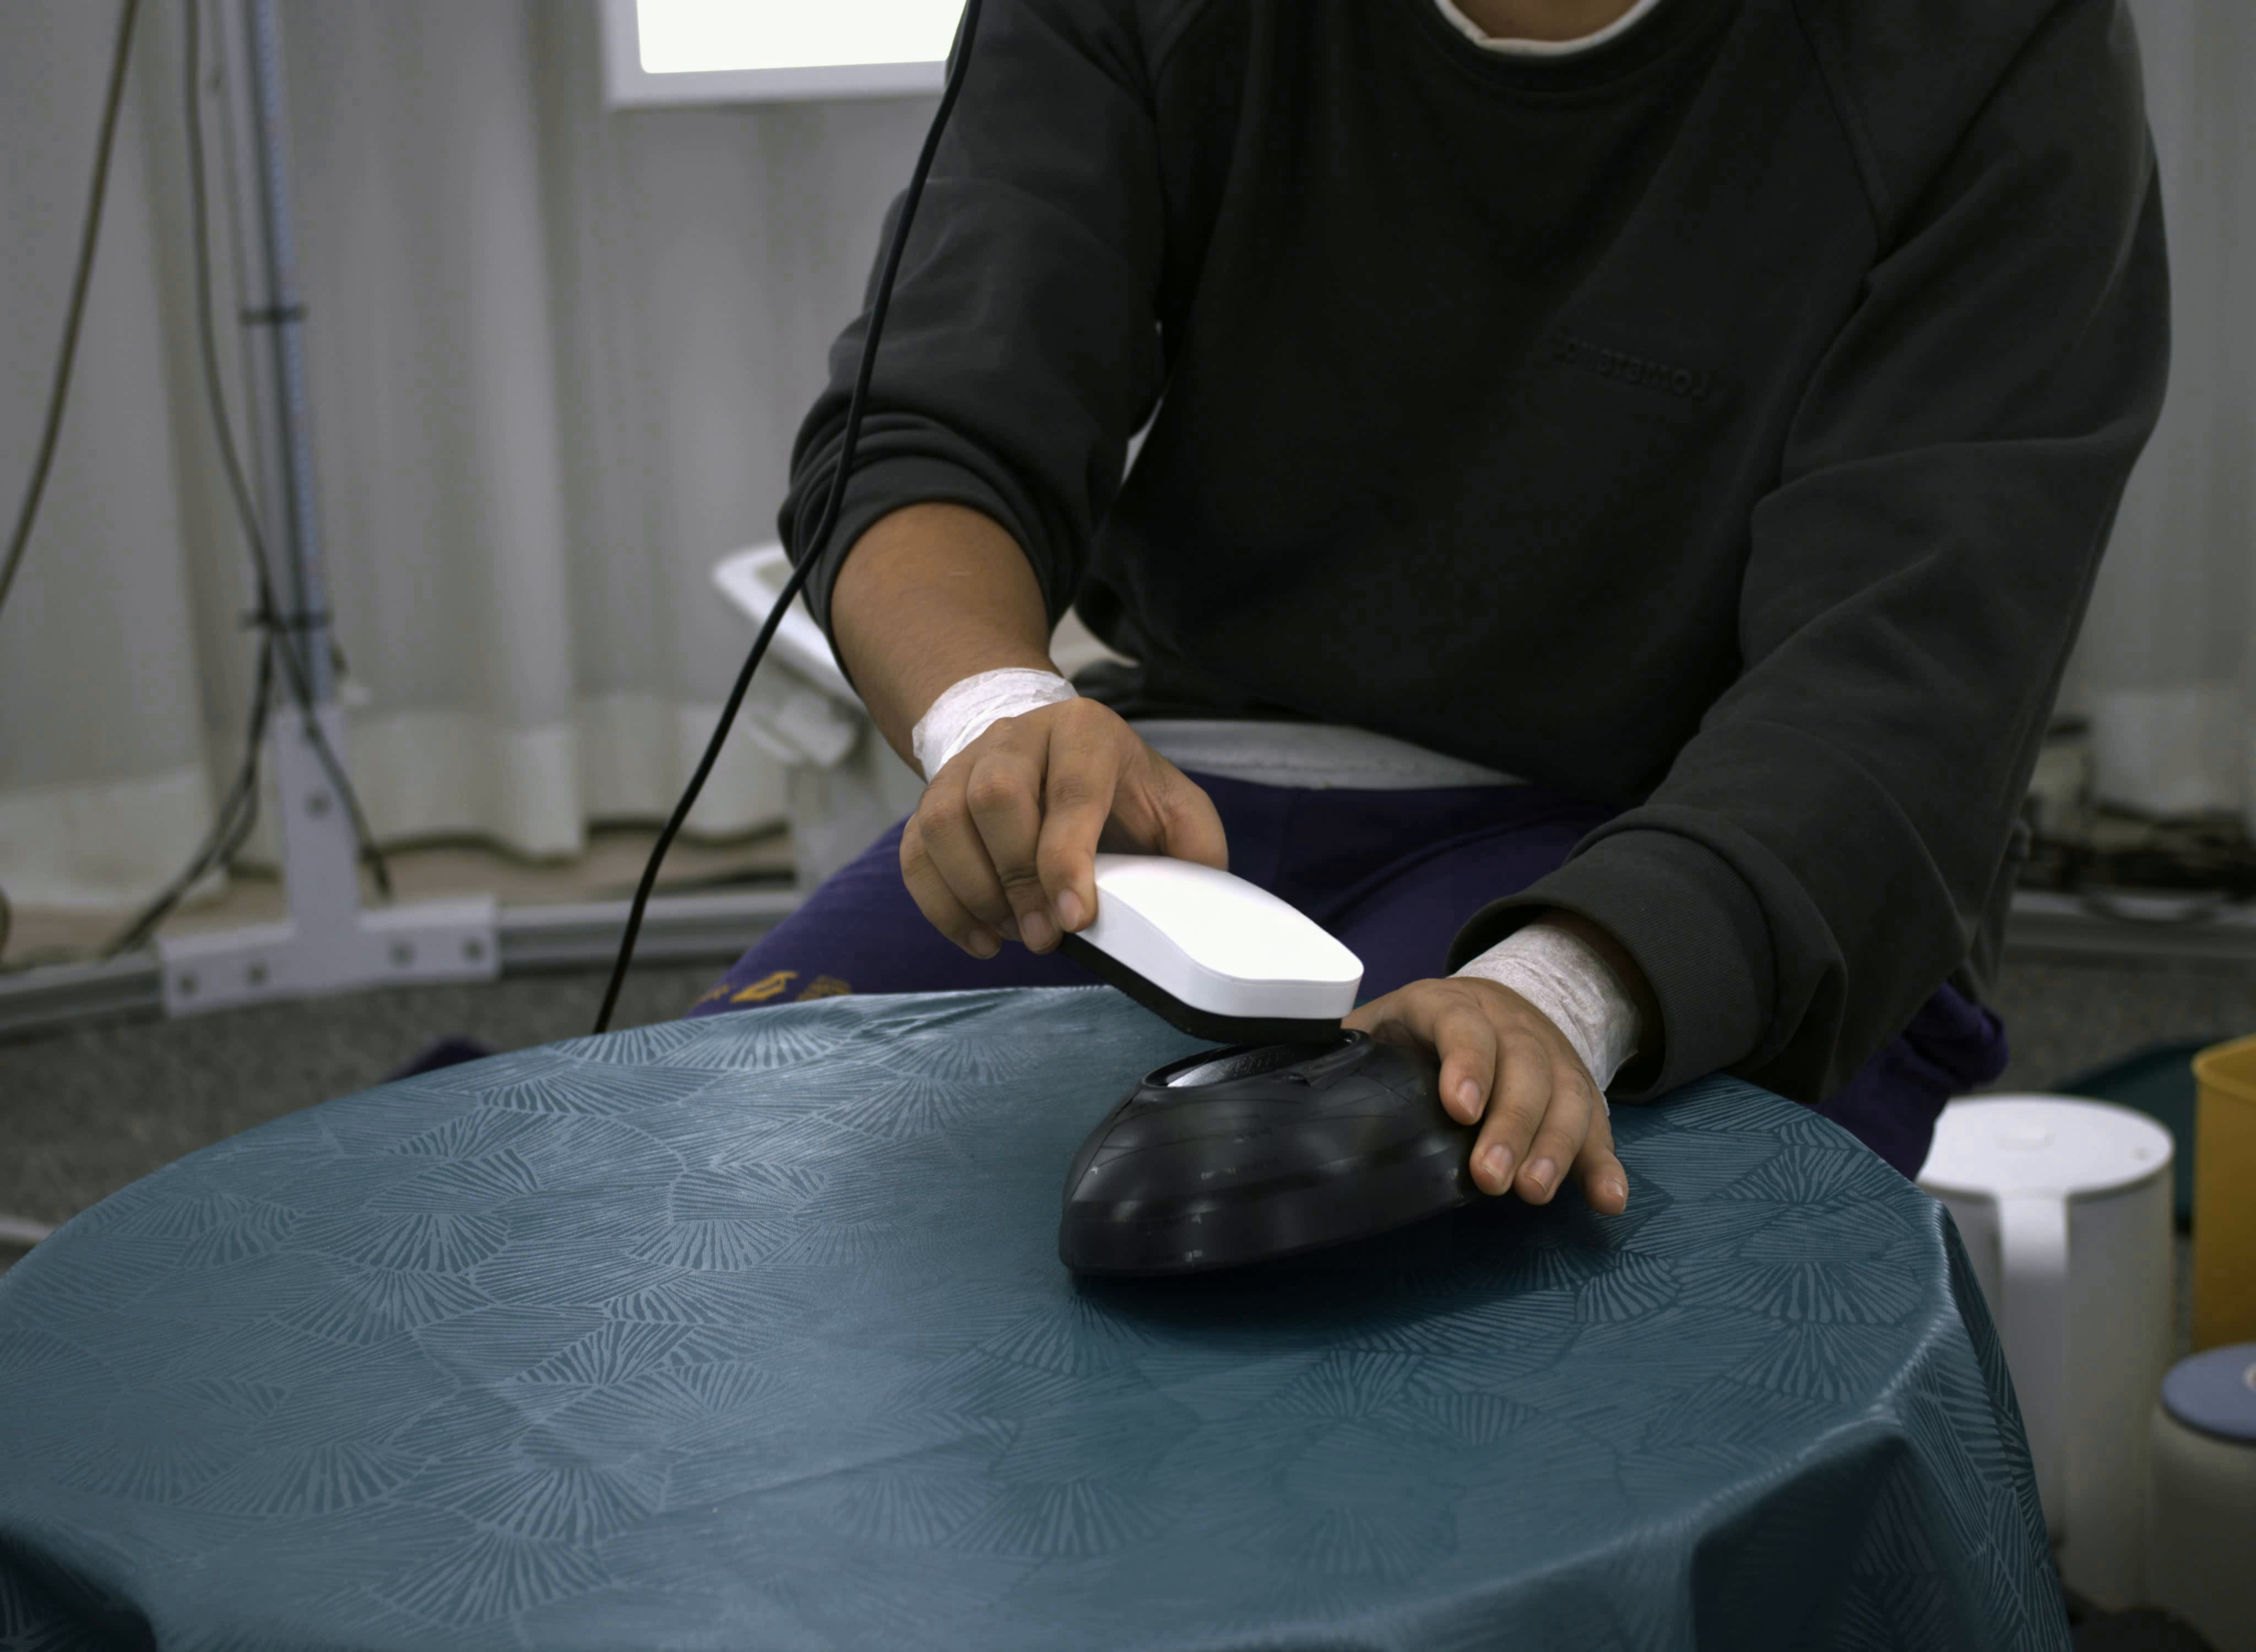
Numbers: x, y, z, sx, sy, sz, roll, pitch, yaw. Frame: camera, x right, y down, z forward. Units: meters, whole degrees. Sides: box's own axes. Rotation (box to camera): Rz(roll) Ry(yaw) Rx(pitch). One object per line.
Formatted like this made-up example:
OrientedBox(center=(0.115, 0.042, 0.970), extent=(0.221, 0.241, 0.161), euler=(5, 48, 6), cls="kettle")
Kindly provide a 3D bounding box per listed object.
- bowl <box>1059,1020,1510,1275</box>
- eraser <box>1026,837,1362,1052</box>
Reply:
OrientedBox(center=(0.042, 0.091, 1.641), extent=(0.139, 0.050, 0.140), euler=(-14, 7, 1), cls="bowl")
OrientedBox(center=(0.020, 0.033, 1.685), extent=(0.063, 0.034, 0.132), euler=(4, 17, -29), cls="eraser")
